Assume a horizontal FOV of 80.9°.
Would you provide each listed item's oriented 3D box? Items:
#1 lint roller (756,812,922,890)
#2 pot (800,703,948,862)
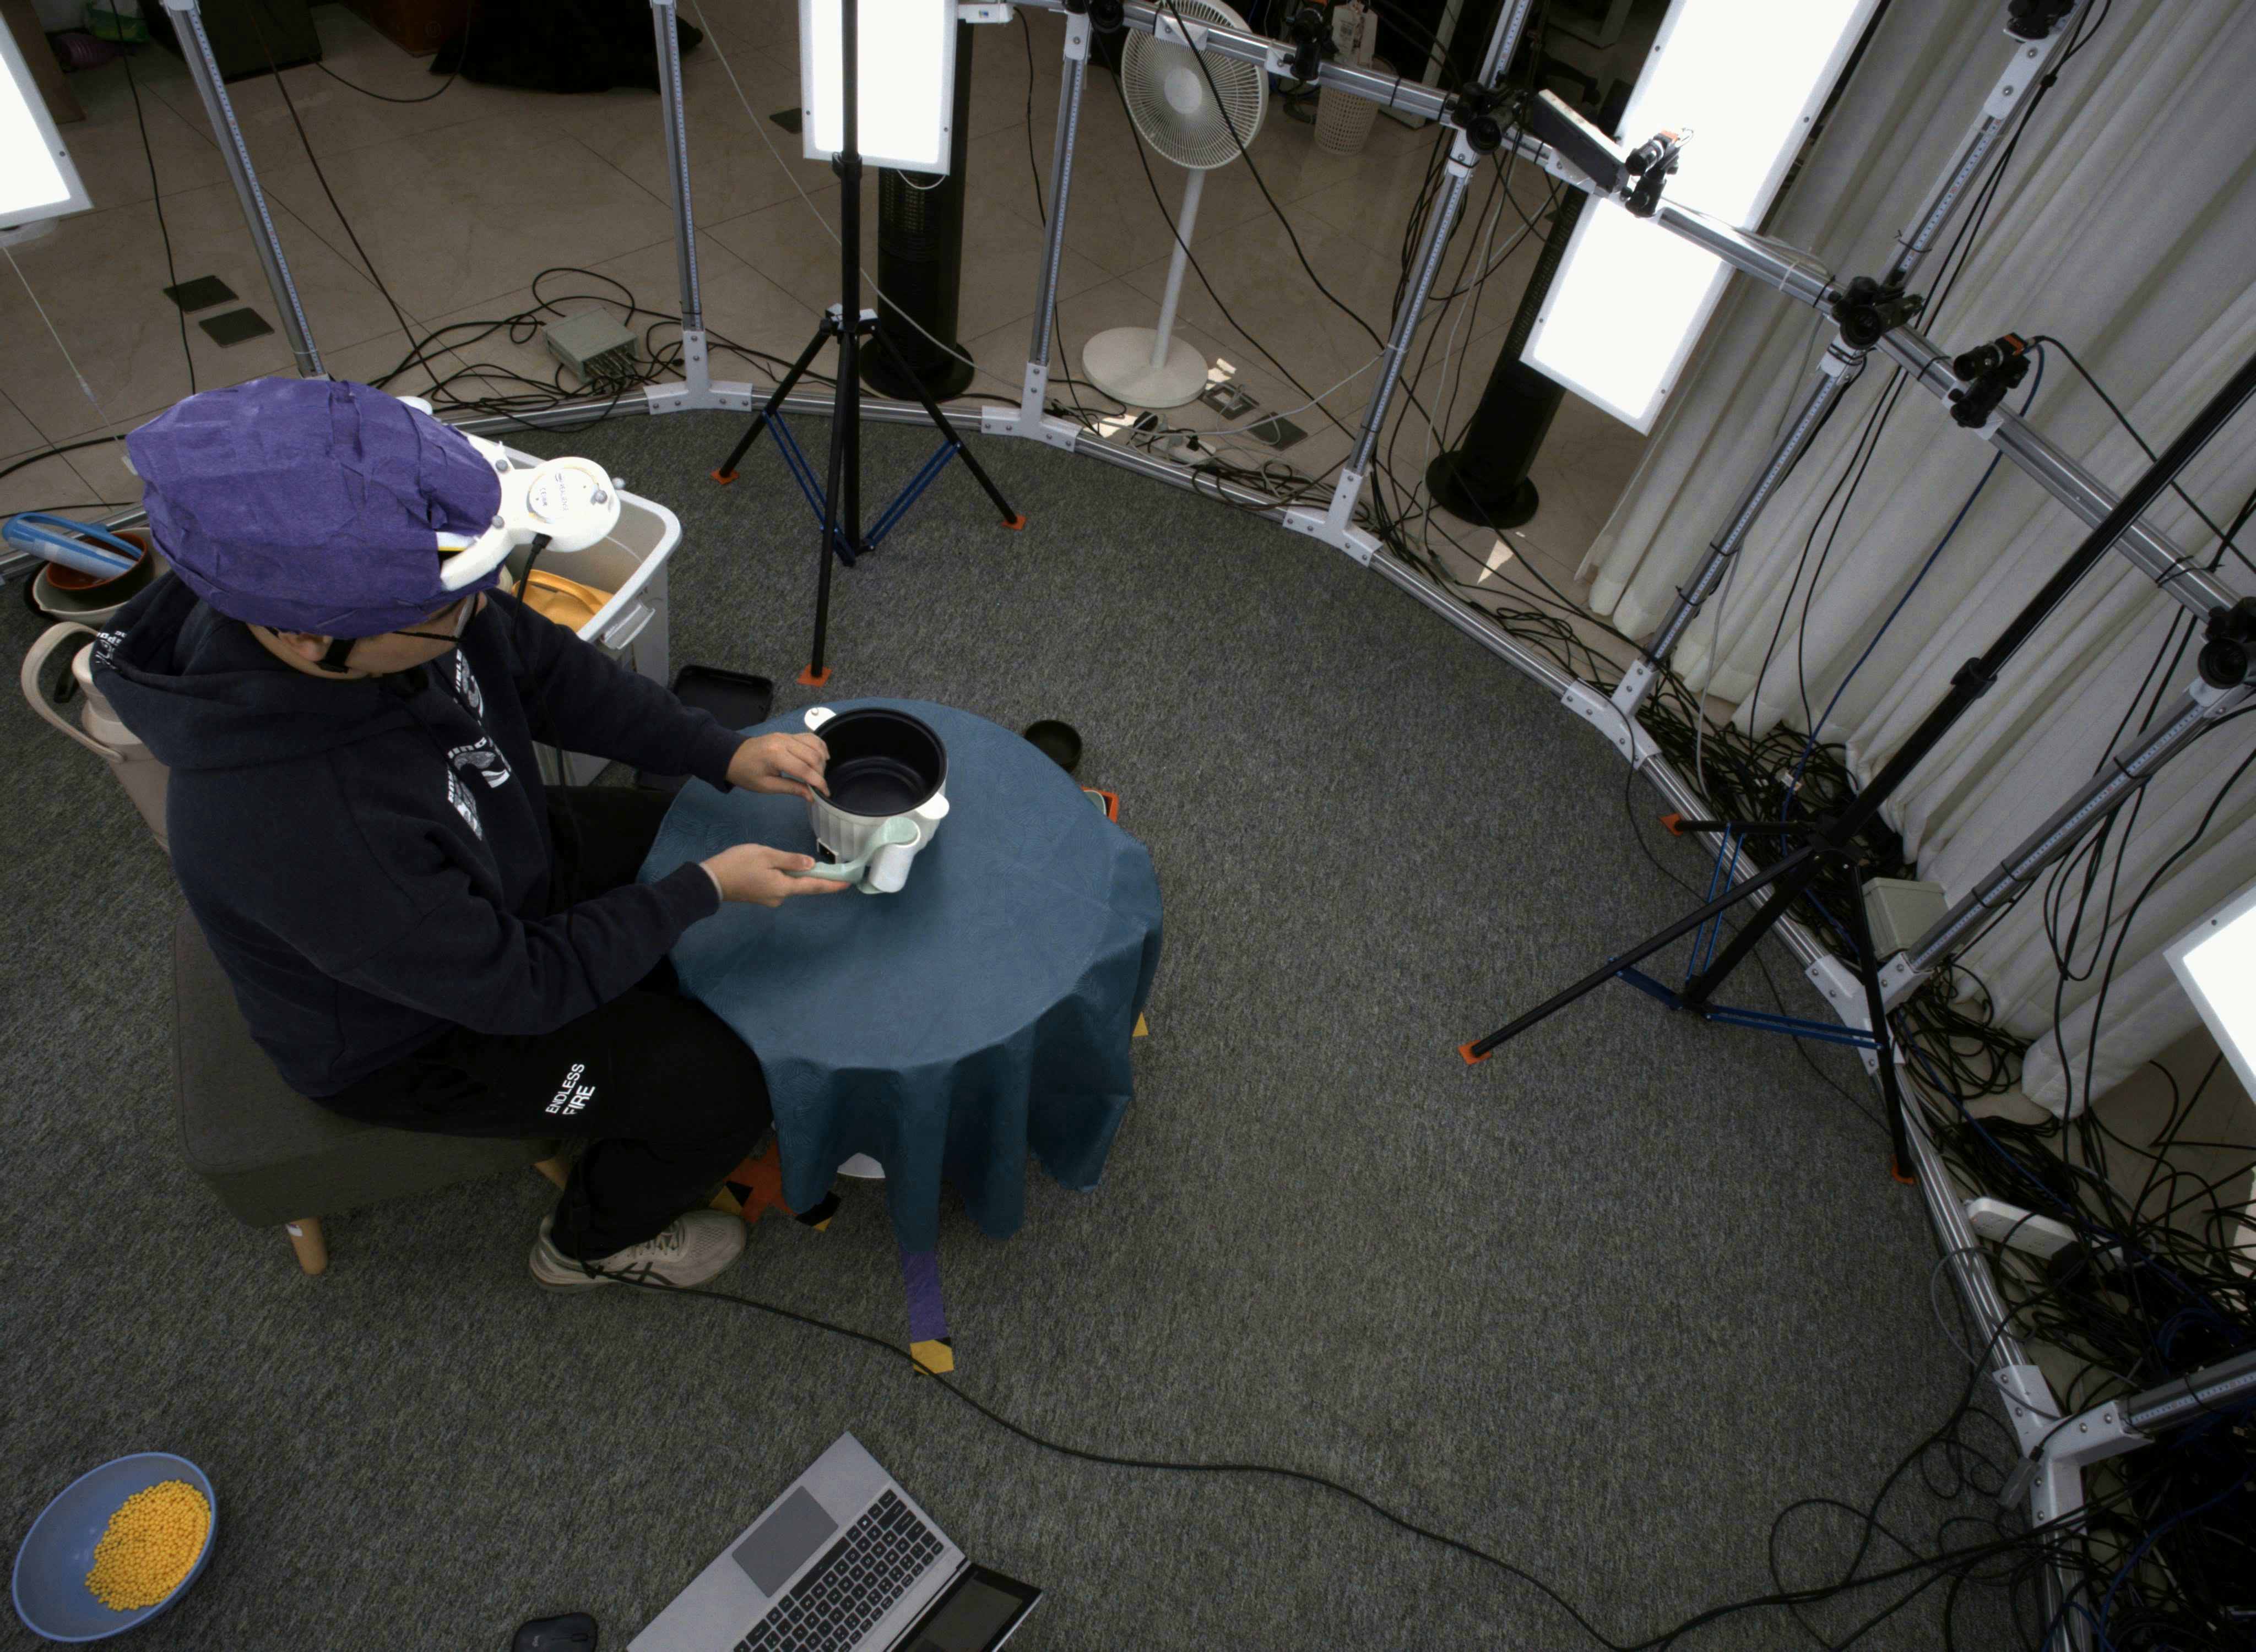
[{"bbox_3d":[-0.351,0.038,1.582,0.199,0.118,0.047,-9,60,-29],"label":"lint roller"},{"bbox_3d":[-0.327,-0.050,1.692,0.236,0.145,0.190,37,57,13],"label":"pot"}]
